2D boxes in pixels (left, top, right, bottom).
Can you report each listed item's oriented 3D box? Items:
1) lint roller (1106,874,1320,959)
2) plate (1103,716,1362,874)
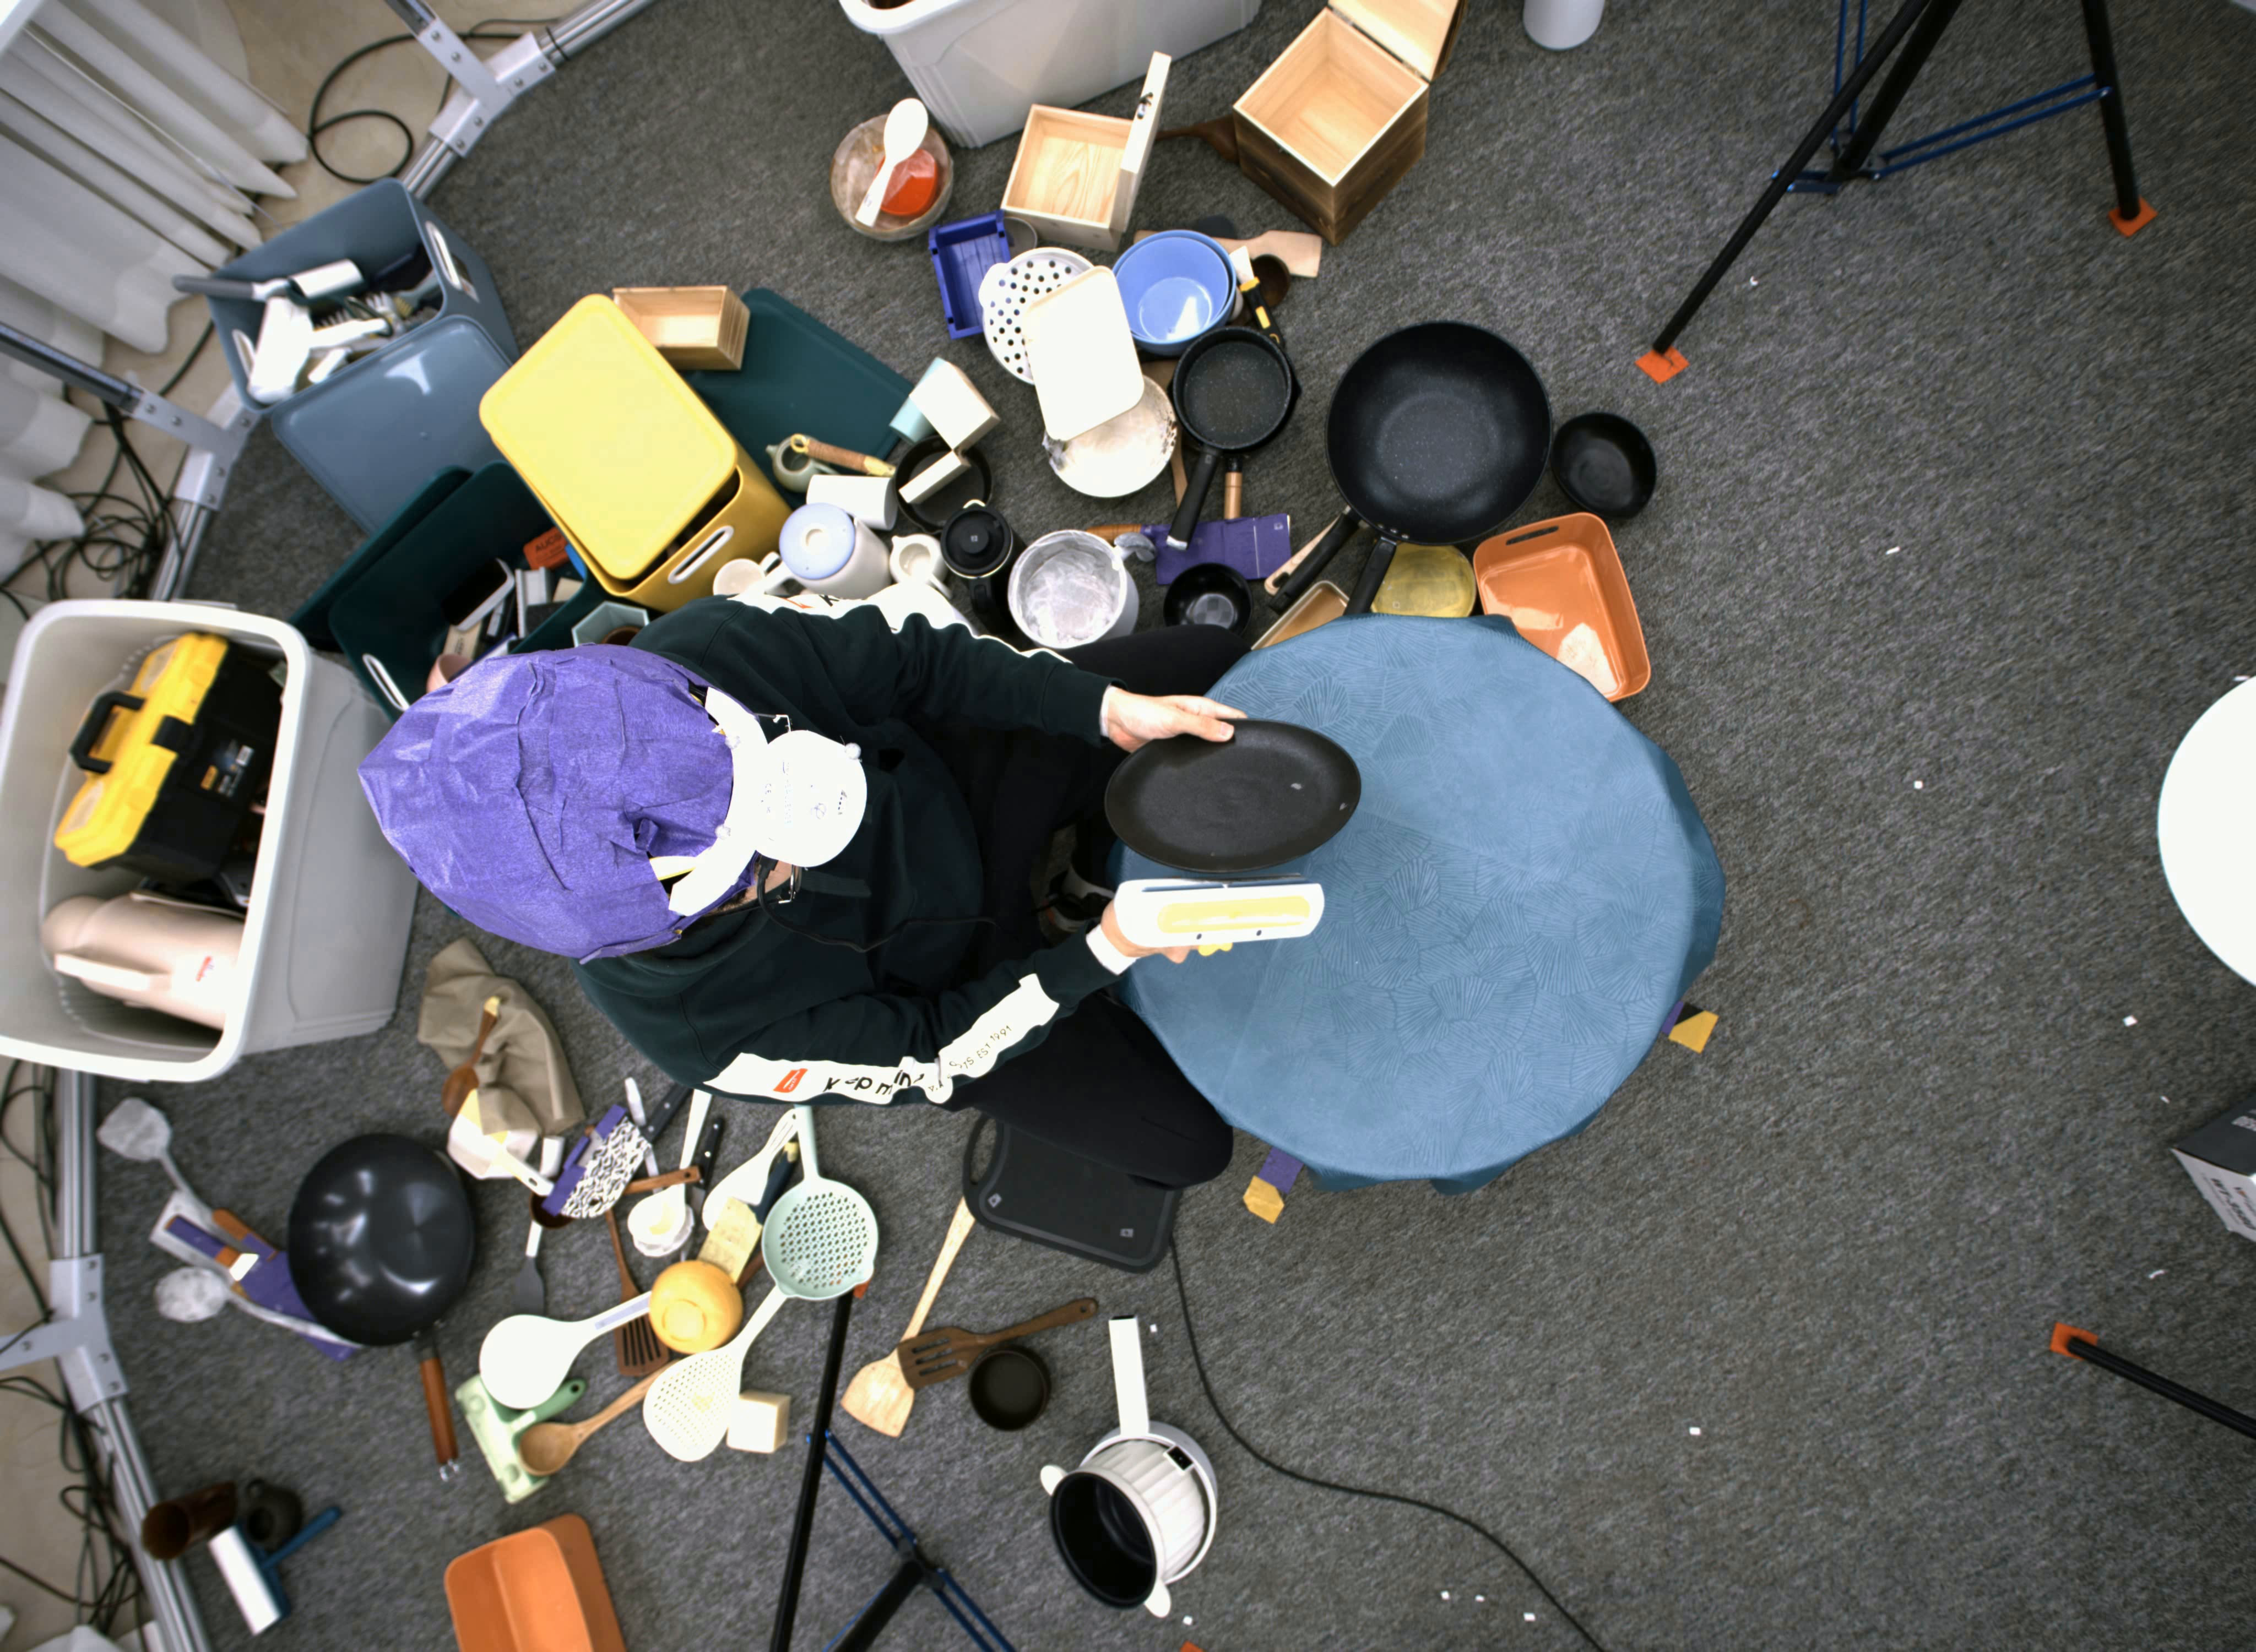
[{"bbox_3d":[0.061,0.074,1.286,0.192,0.191,0.075,-8,100,-15],"label":"lint roller"},{"bbox_3d":[0.098,-0.028,1.302,0.245,0.238,0.024,-6,129,5],"label":"plate"}]
